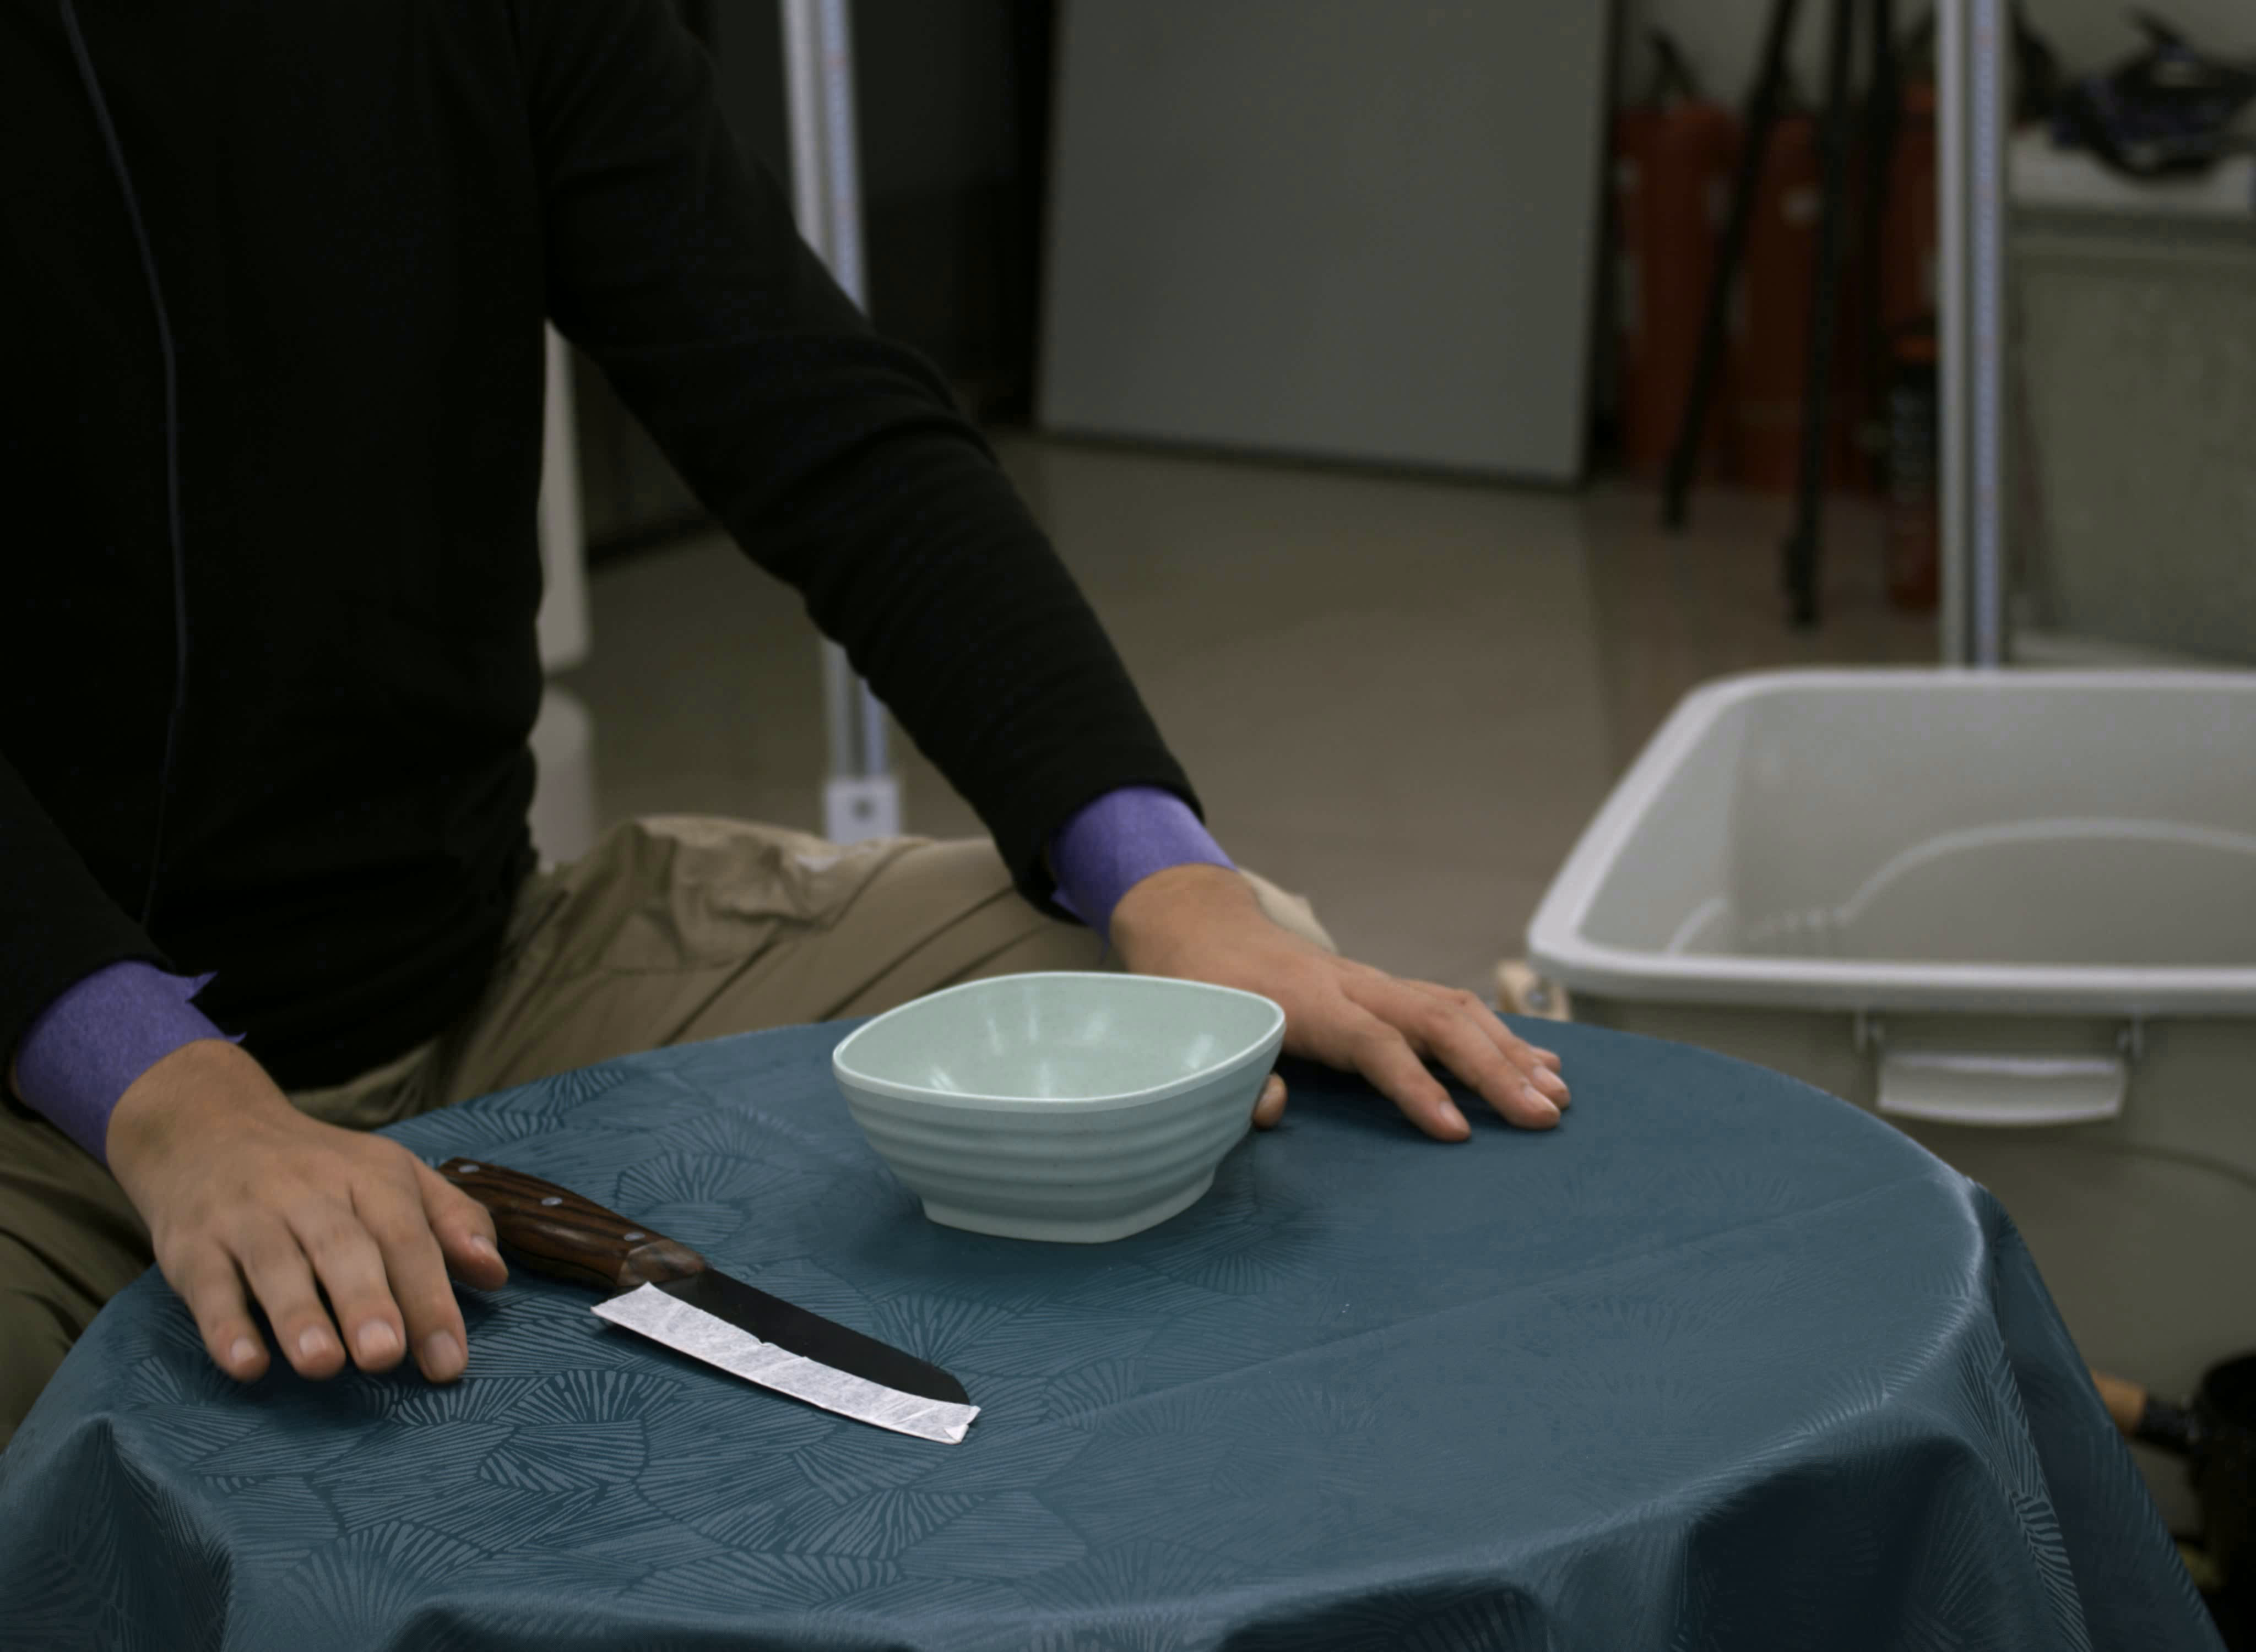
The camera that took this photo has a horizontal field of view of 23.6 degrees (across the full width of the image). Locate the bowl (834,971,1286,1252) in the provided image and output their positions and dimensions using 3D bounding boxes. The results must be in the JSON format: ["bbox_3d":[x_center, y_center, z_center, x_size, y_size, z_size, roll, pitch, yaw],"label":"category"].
[{"bbox_3d":[-0.021,0.096,1.765,0.149,0.059,0.152,-3,15,0],"label":"bowl"}]

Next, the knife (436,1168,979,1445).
[{"bbox_3d":[-0.133,0.149,1.671,0.049,0.020,0.292,-20,23,-33],"label":"knife"}]
